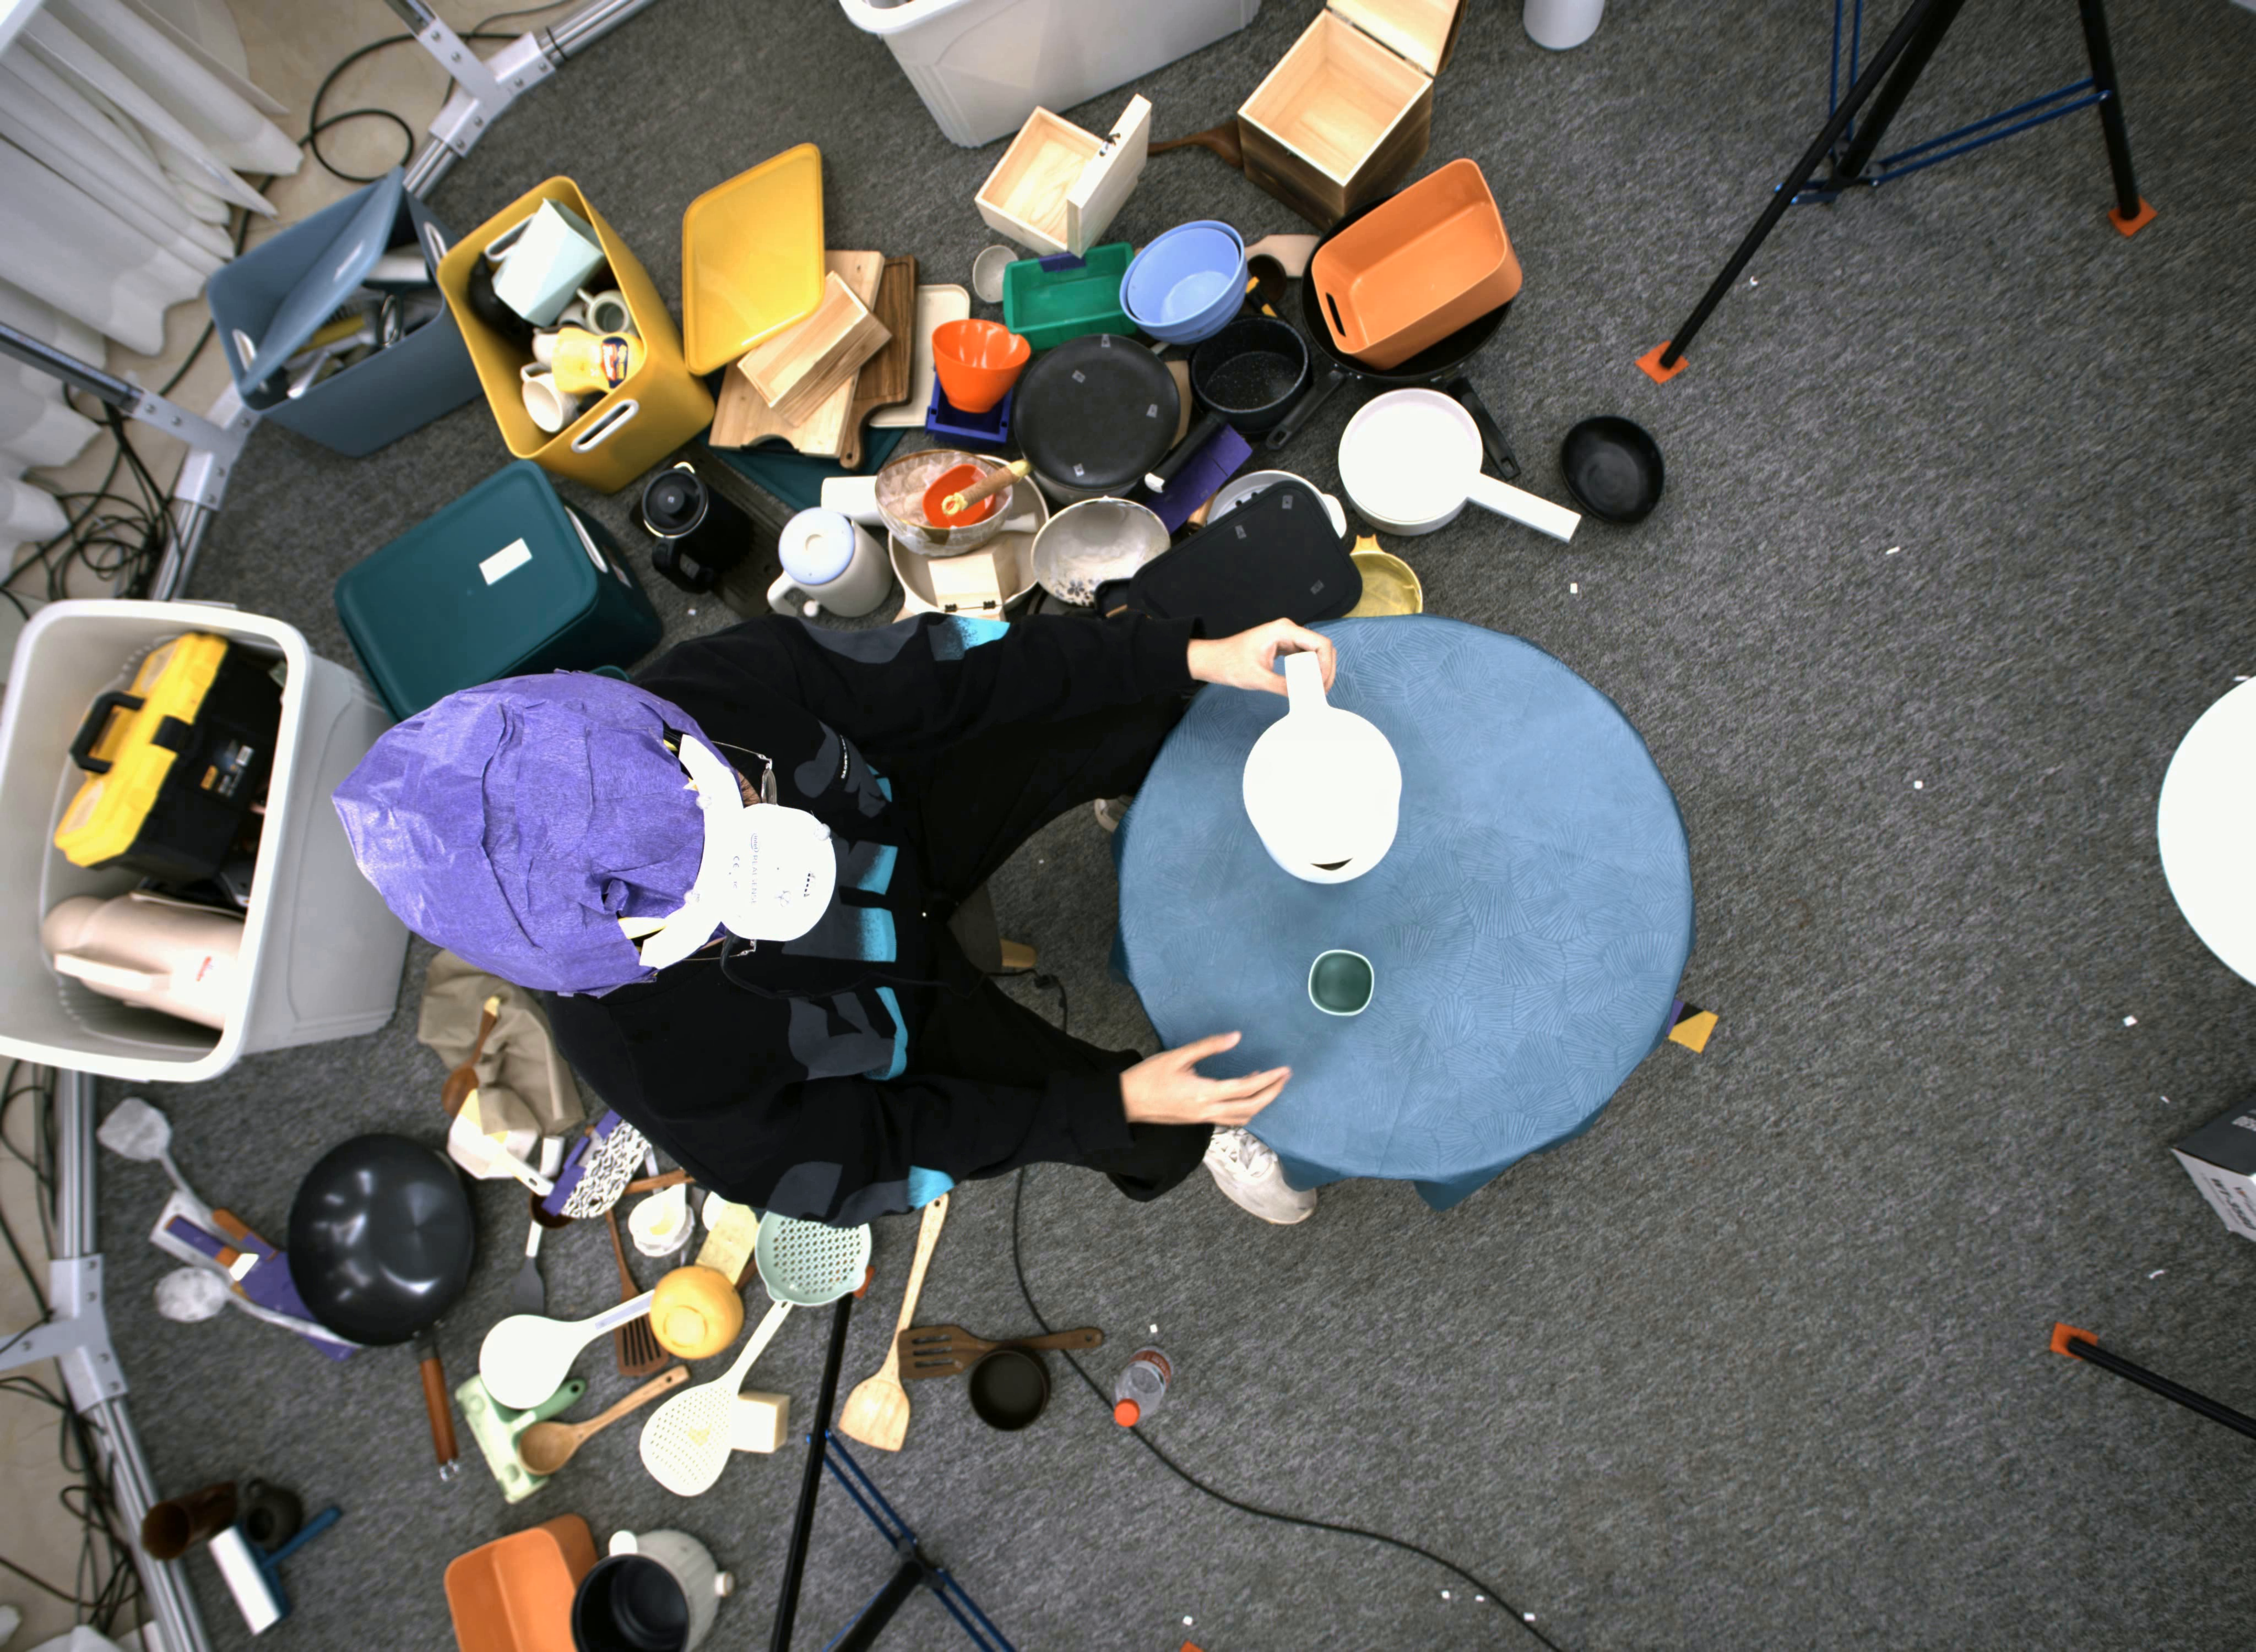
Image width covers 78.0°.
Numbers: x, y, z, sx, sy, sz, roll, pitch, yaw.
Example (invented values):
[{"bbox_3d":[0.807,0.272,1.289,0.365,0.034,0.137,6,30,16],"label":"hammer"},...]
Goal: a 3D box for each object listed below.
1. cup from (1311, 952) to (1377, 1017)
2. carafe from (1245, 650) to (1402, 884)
[{"bbox_3d":[0.217,0.157,1.398,0.067,0.132,0.066,-1,86,9],"label":"cup"},{"bbox_3d":[0.192,-0.053,1.358,0.153,0.240,0.212,-8,85,8],"label":"carafe"}]
